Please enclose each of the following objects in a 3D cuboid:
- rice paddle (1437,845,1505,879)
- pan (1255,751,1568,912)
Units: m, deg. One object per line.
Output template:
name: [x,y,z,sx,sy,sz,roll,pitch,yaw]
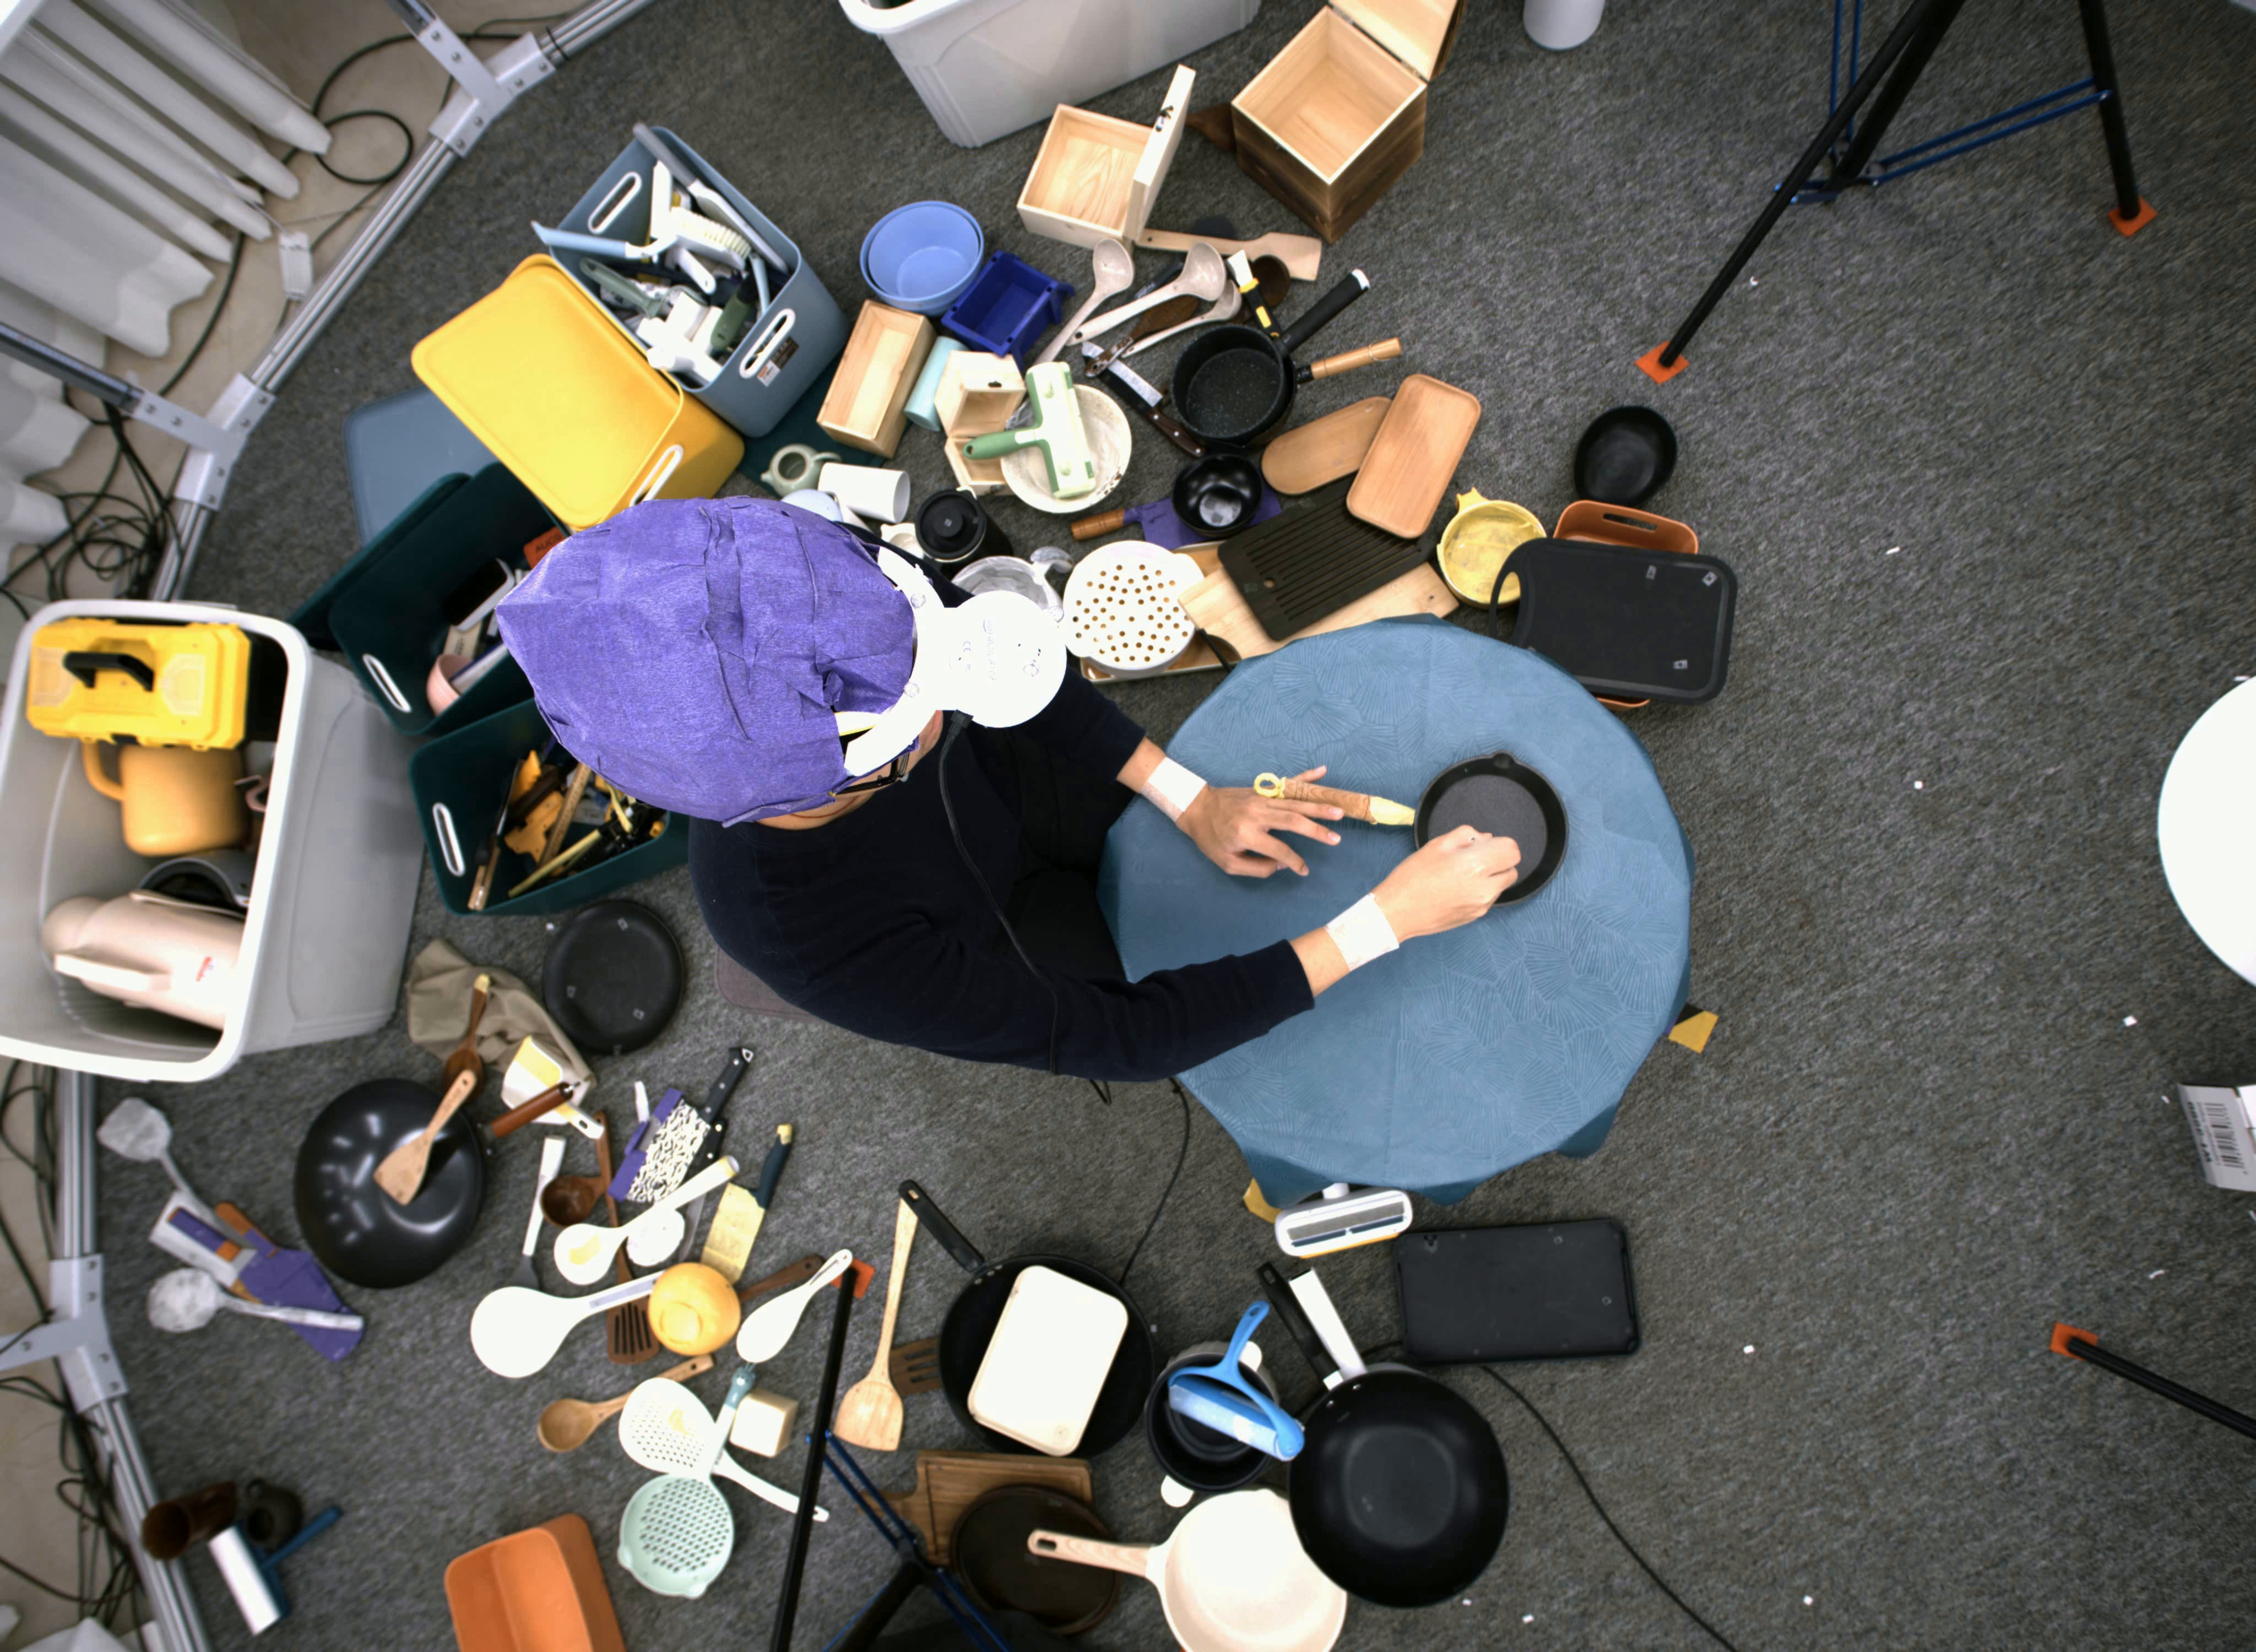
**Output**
rice paddle: [0.339,0.026,1.338,0.069,0.204,0.029,-11,90,9]
pan: [0.291,-0.014,1.427,0.324,0.049,0.168,13,89,6]
